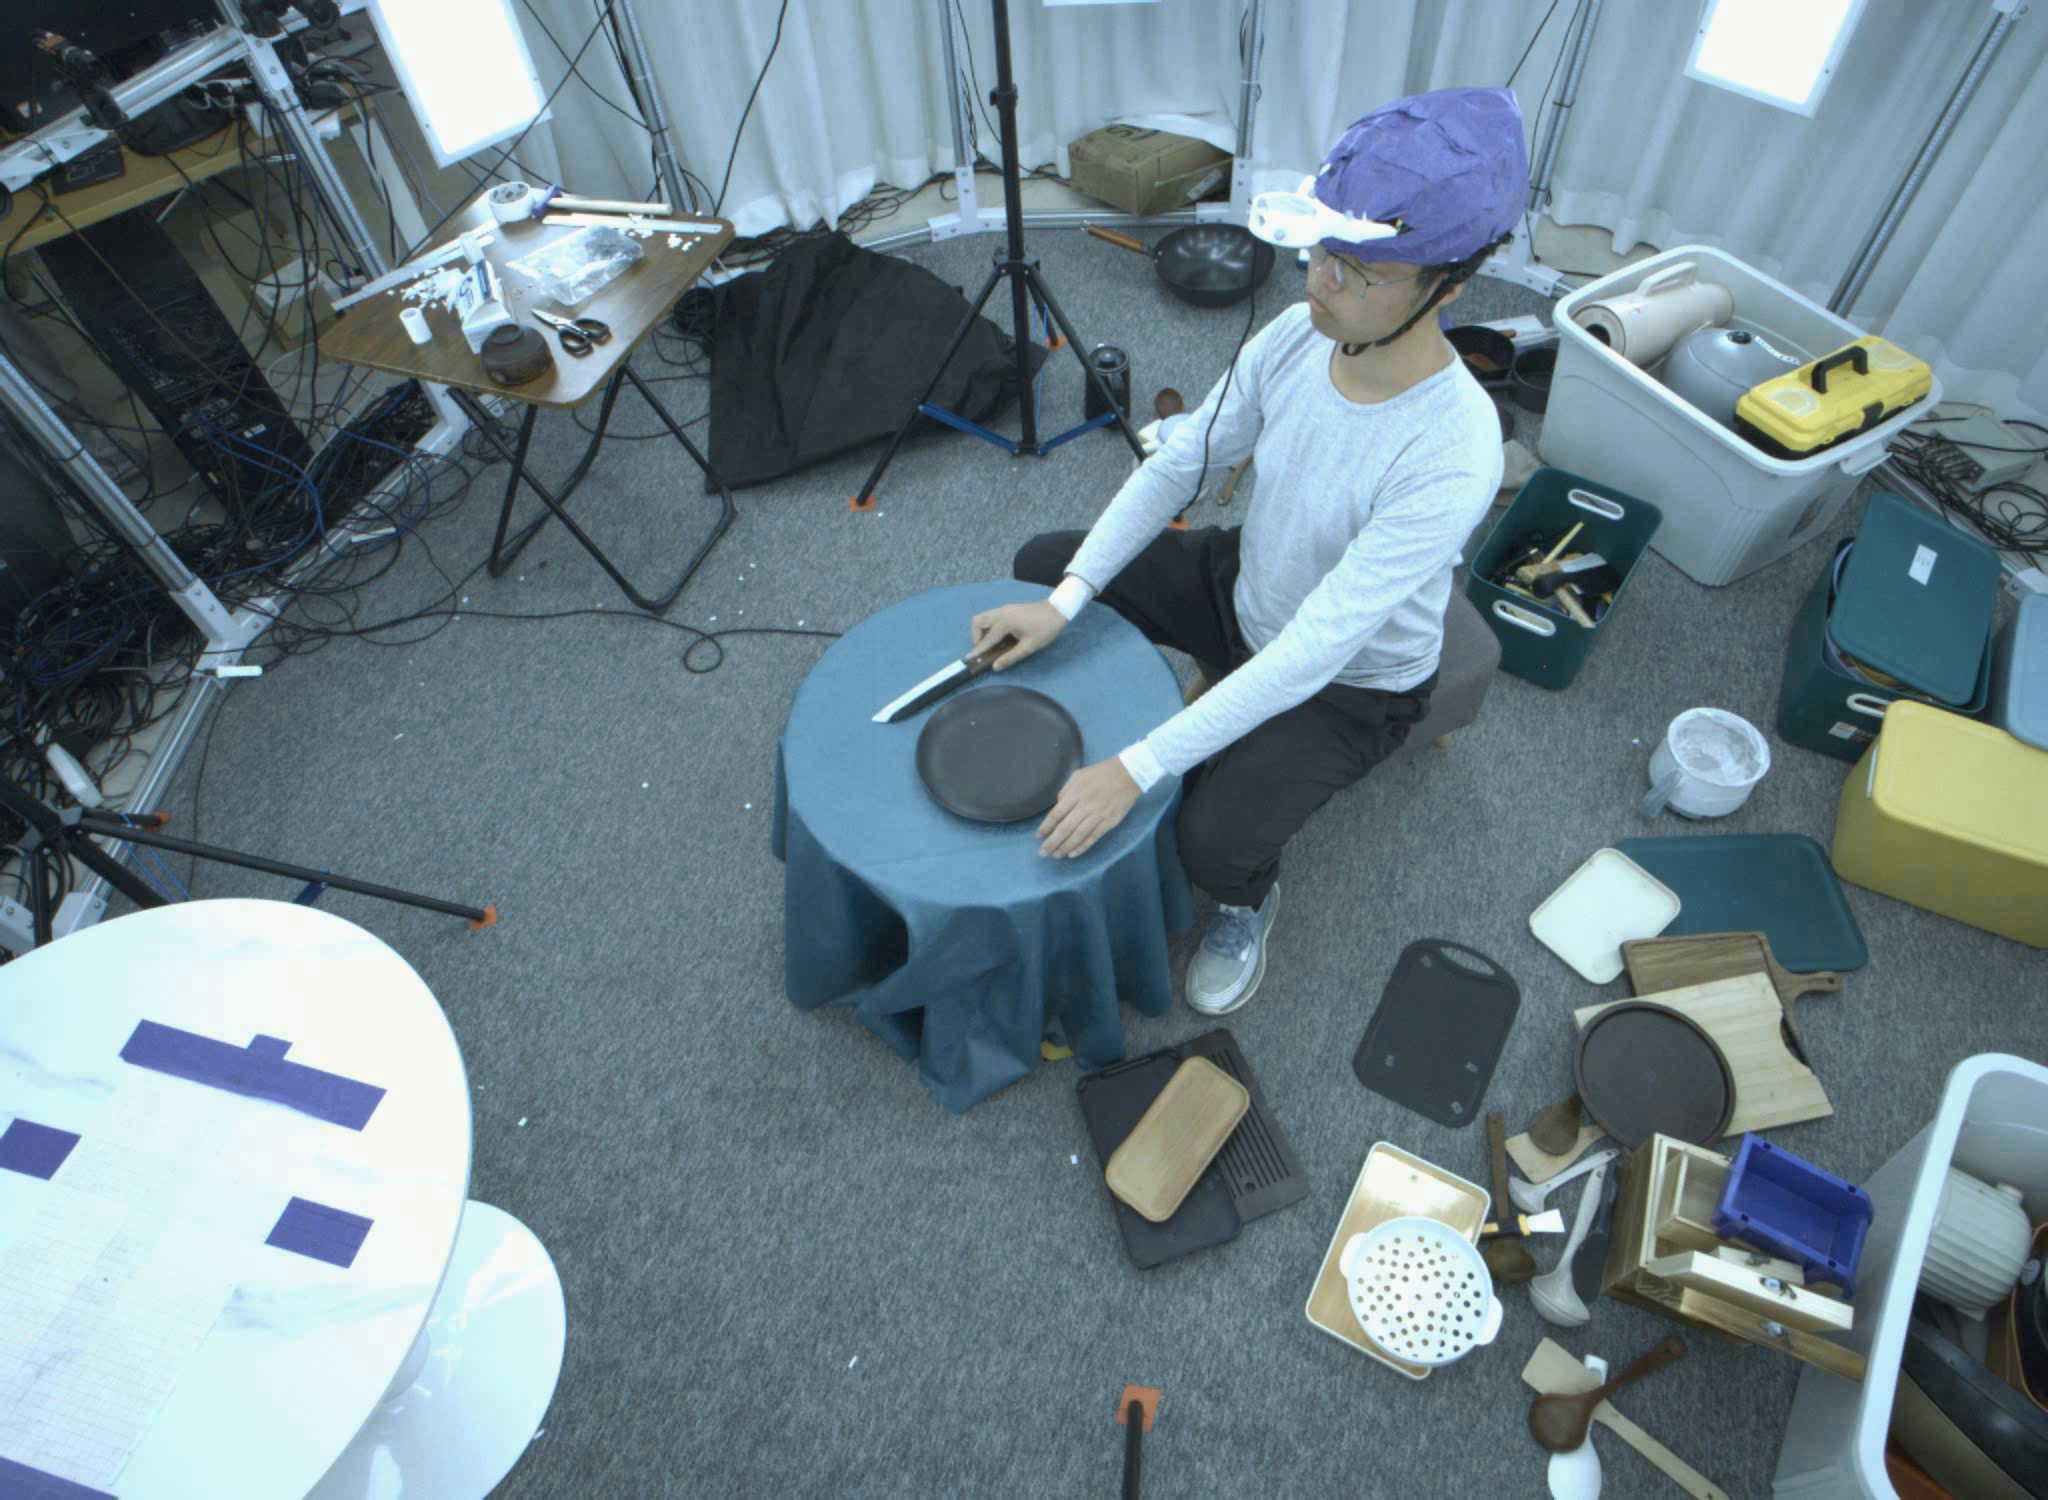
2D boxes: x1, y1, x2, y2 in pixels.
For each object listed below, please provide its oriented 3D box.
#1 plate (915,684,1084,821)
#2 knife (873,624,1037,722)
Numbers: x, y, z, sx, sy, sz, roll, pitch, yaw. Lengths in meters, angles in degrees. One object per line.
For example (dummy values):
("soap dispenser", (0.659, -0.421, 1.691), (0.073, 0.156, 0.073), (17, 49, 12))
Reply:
("plate", (-0.036, 0.005, 1.778), (0.244, 0.023, 0.242), (0, 54, 1))
("knife", (-0.105, -0.115, 1.866), (0.291, 0.020, 0.049), (-31, 48, -15))
